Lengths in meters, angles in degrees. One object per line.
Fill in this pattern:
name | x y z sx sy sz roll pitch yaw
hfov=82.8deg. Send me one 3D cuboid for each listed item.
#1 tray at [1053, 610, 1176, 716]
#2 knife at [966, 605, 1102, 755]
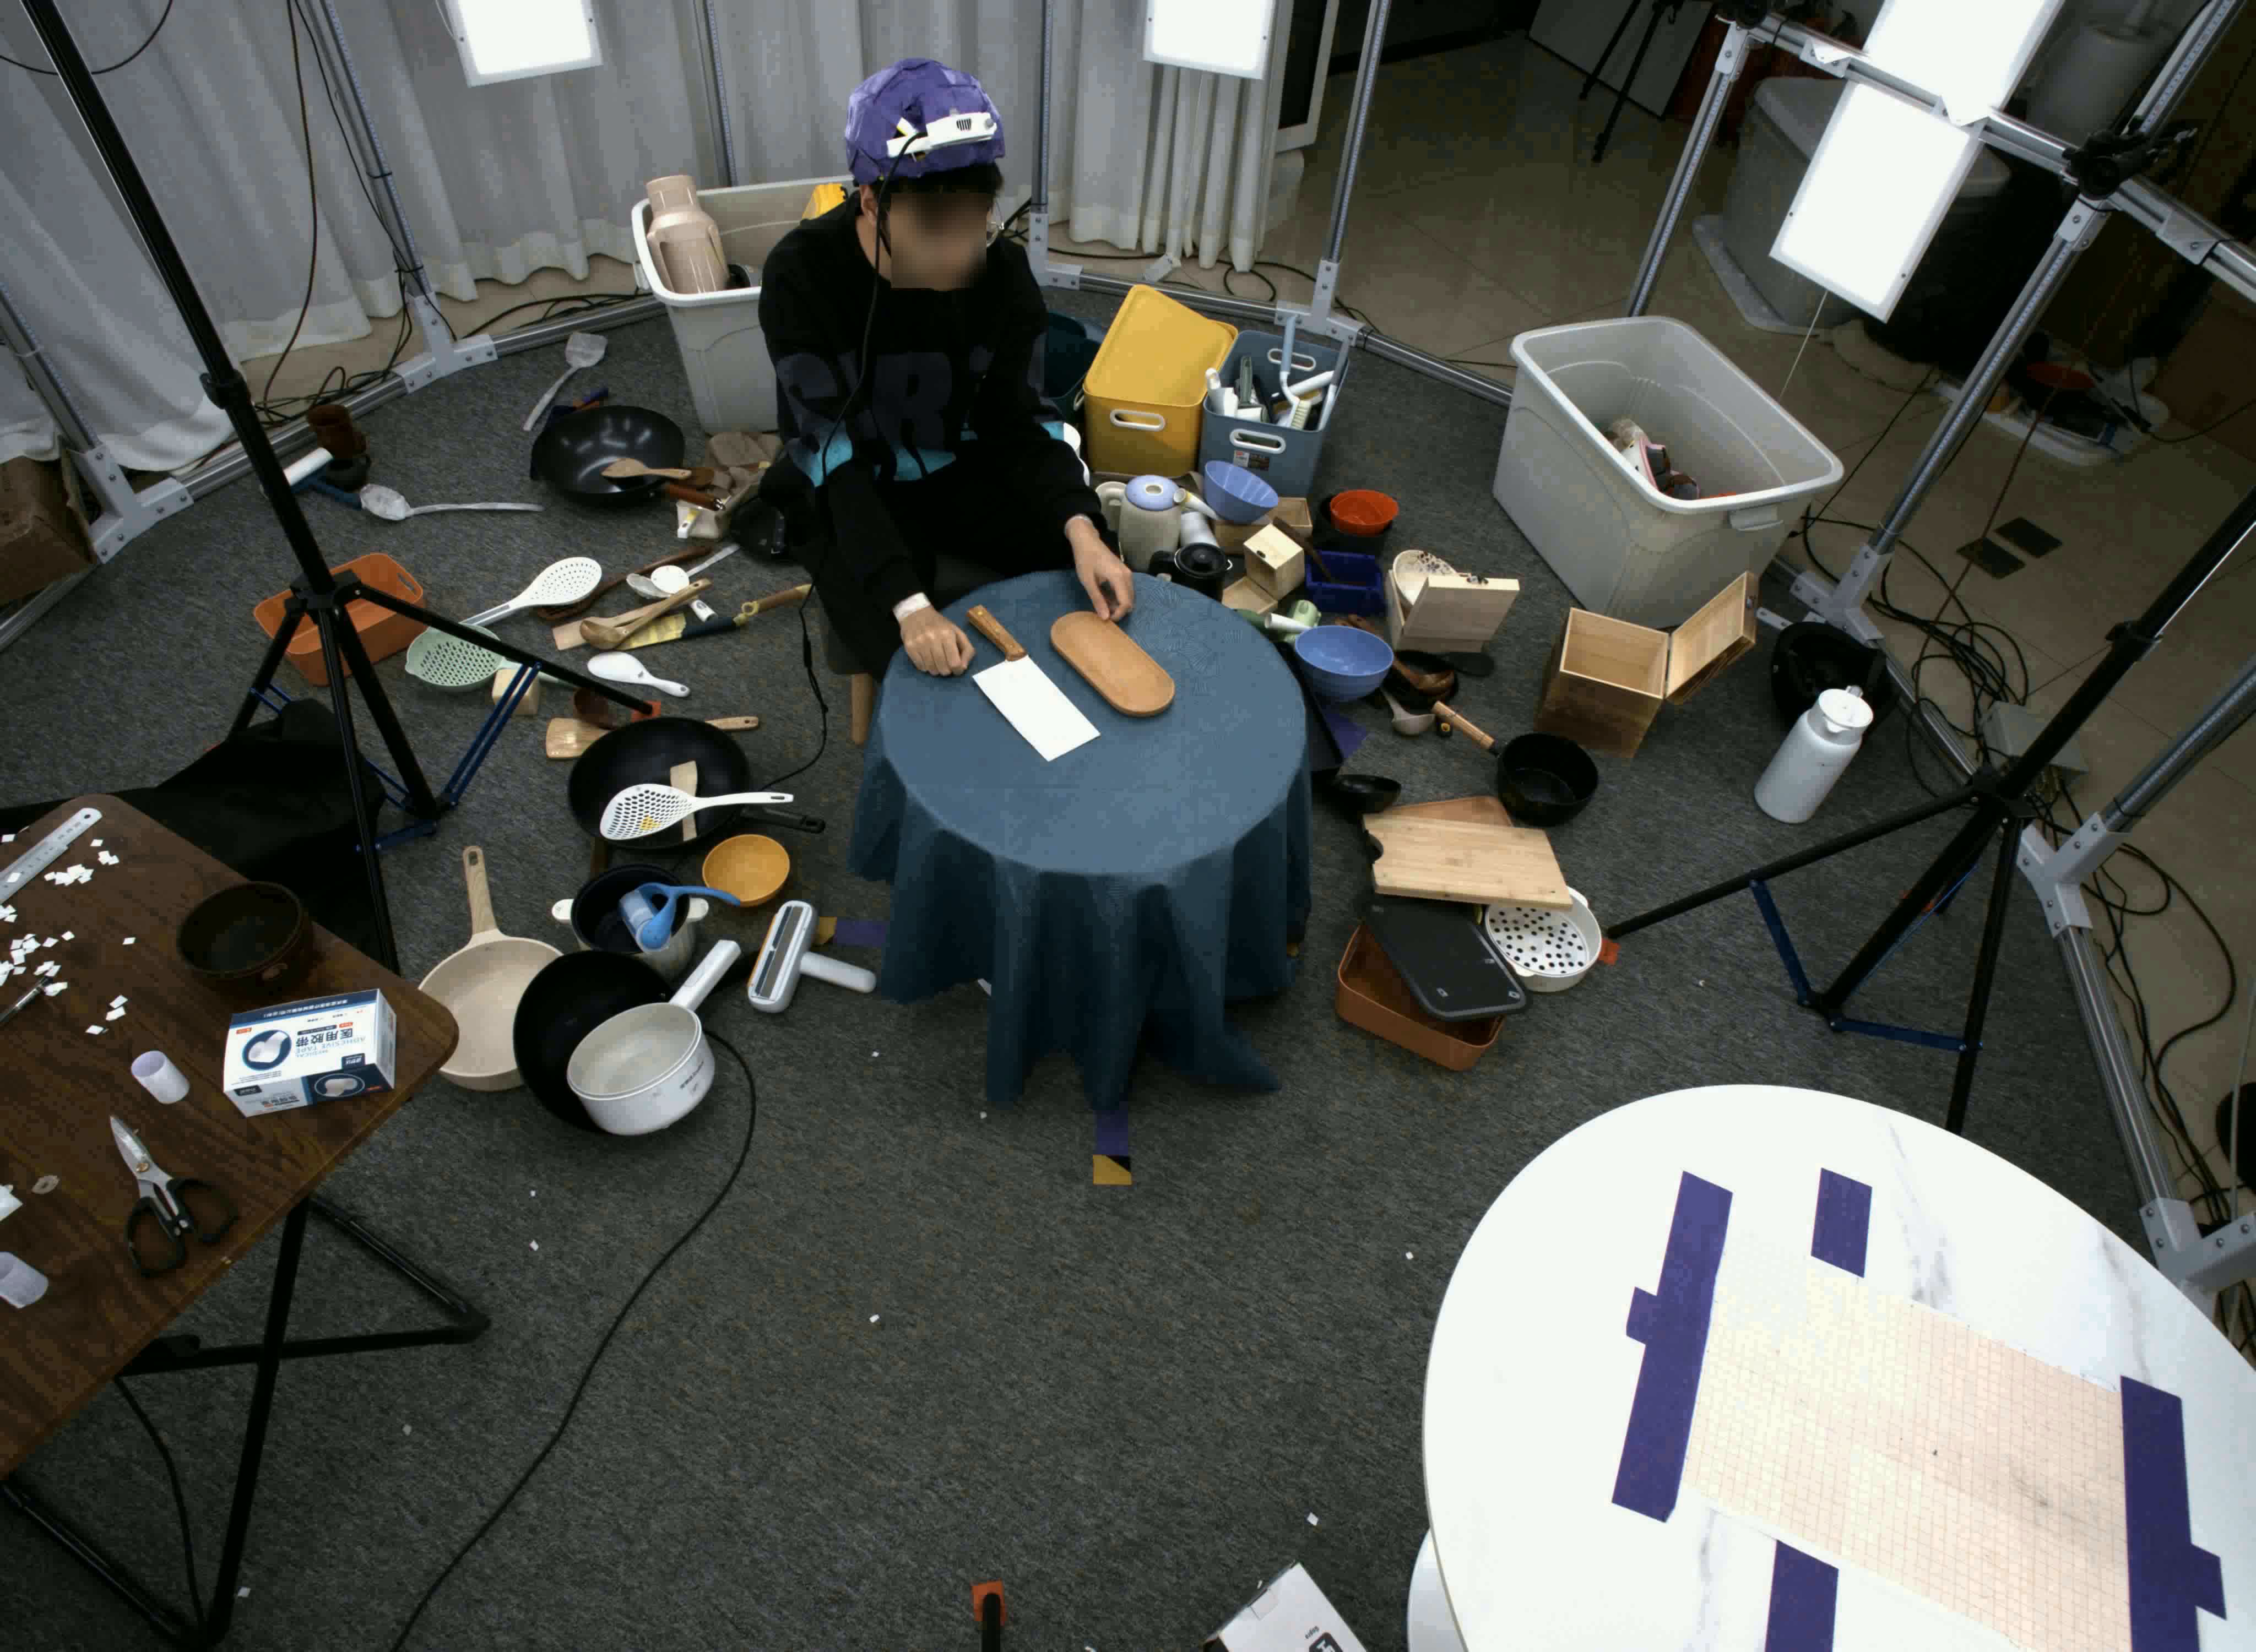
tray | -0.021 -0.238 1.863 0.102 0.020 0.235 -27 55 -25
knife | -0.158 -0.208 1.829 0.093 0.020 0.311 -28 59 -23
